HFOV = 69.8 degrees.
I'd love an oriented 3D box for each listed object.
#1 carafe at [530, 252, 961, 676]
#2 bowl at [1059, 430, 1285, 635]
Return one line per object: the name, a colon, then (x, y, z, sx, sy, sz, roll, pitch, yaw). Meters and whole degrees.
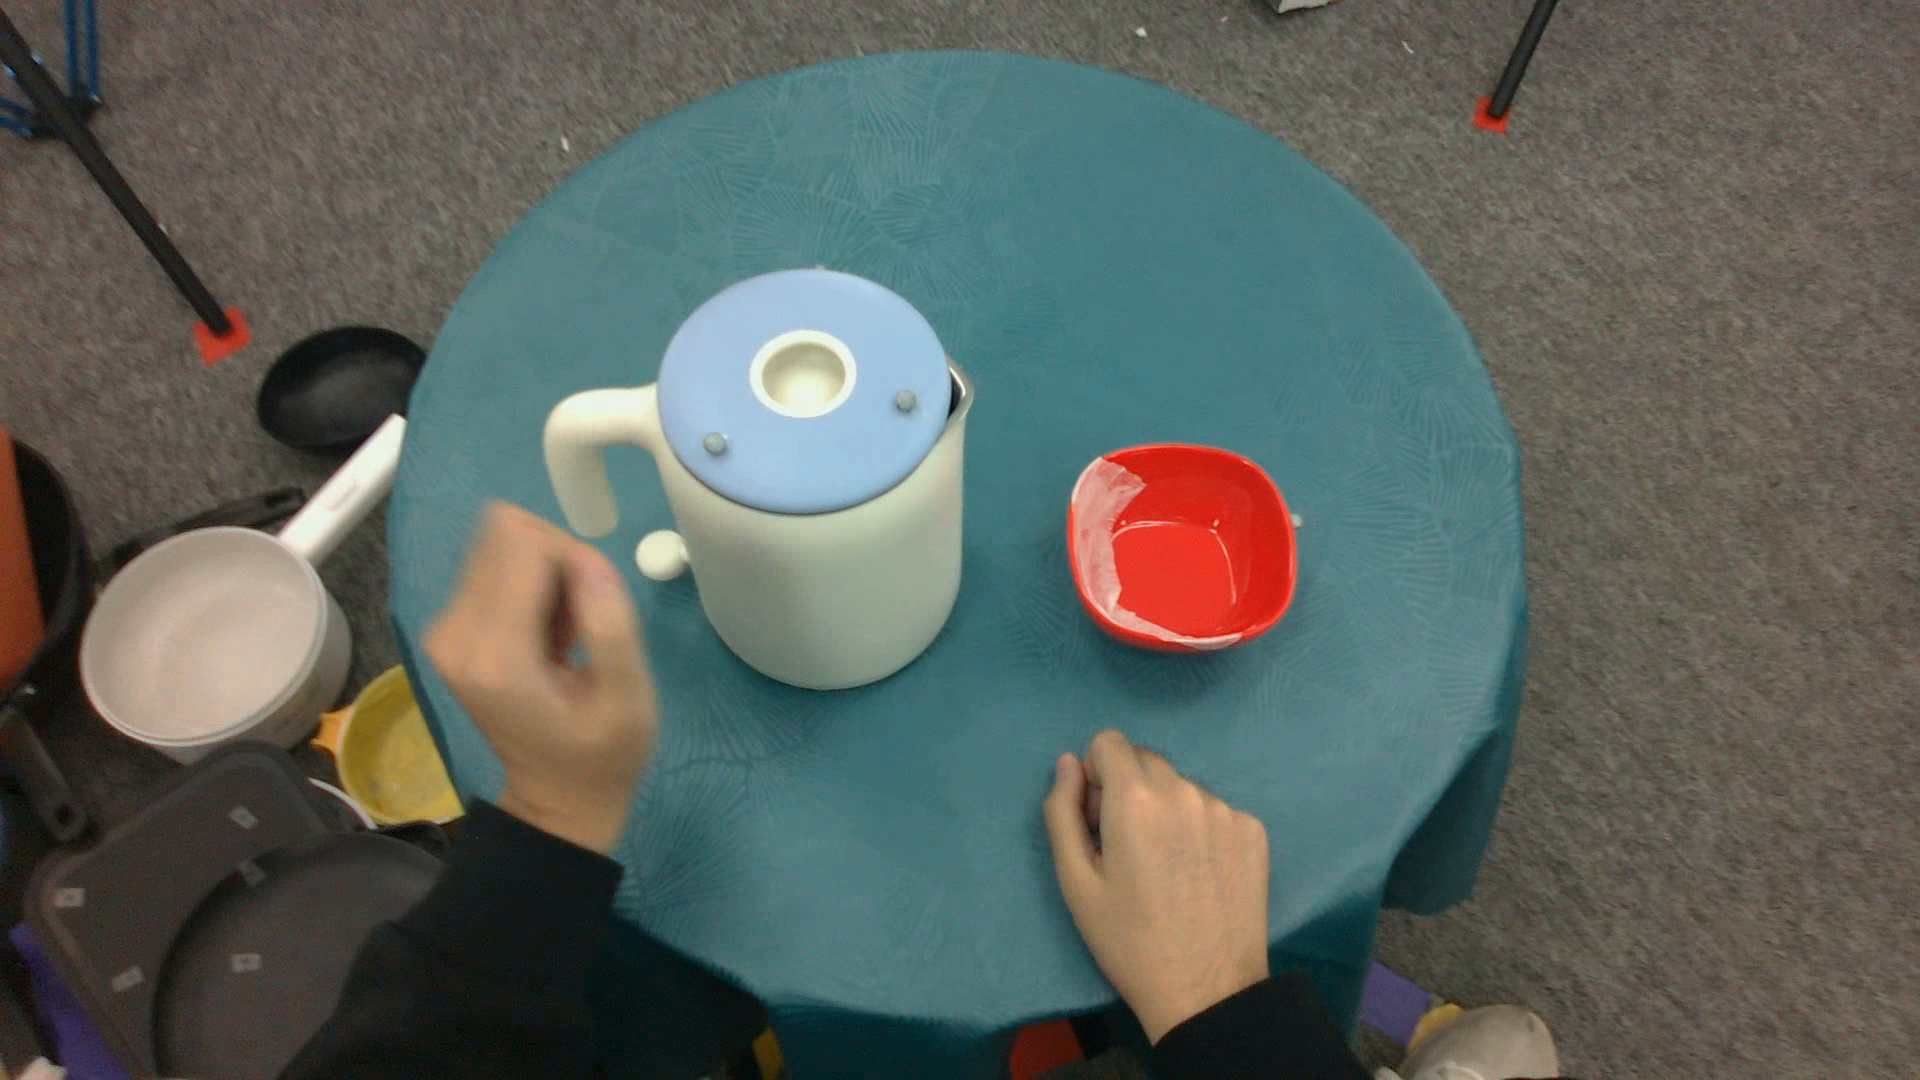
carafe: (-0.094, -0.029, 0.625, 0.191, 0.182, 0.133, -2, 60, 0)
bowl: (0.099, 0.004, 0.681, 0.119, 0.051, 0.119, 4, 57, -6)
